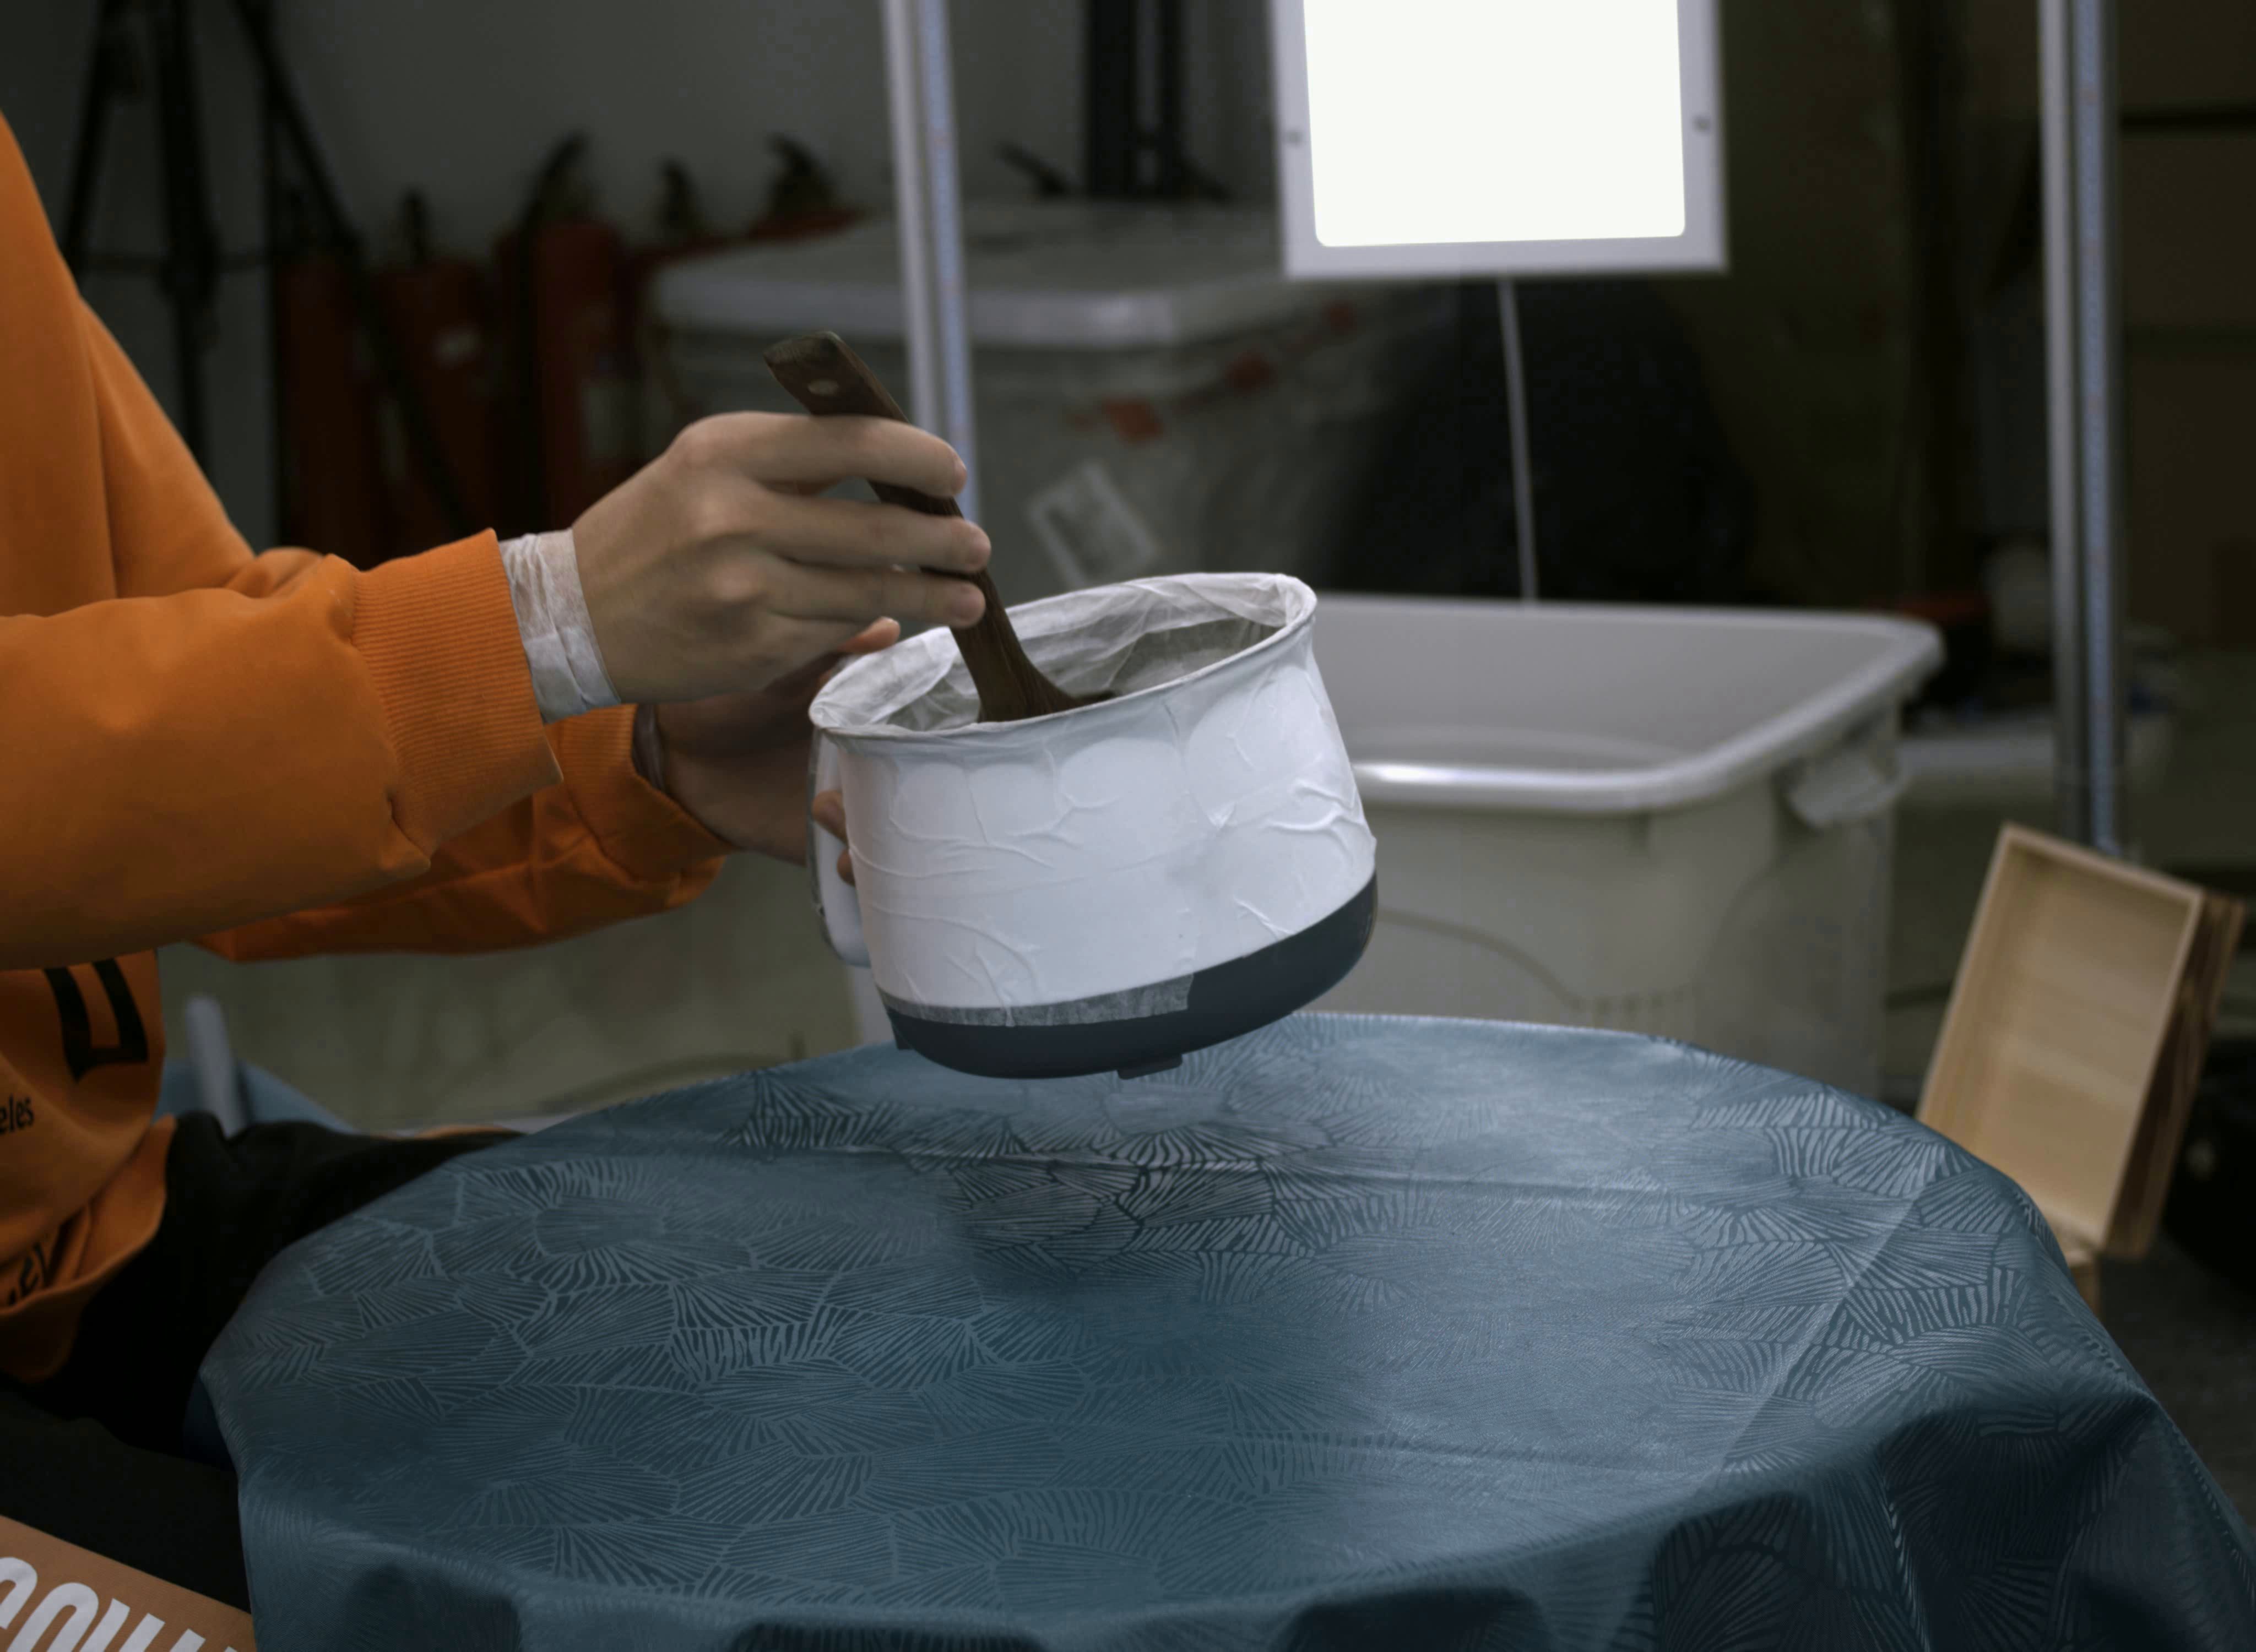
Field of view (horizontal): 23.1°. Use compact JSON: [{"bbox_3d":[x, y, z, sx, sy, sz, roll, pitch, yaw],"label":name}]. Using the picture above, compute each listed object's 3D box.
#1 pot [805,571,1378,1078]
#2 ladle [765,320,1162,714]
[{"bbox_3d":[-0.028,0.000,1.895,0.239,0.137,0.174,1,20,44],"label":"pot"},{"bbox_3d":[-0.058,-0.097,1.803,0.076,0.272,0.071,-17,49,12],"label":"ladle"}]
